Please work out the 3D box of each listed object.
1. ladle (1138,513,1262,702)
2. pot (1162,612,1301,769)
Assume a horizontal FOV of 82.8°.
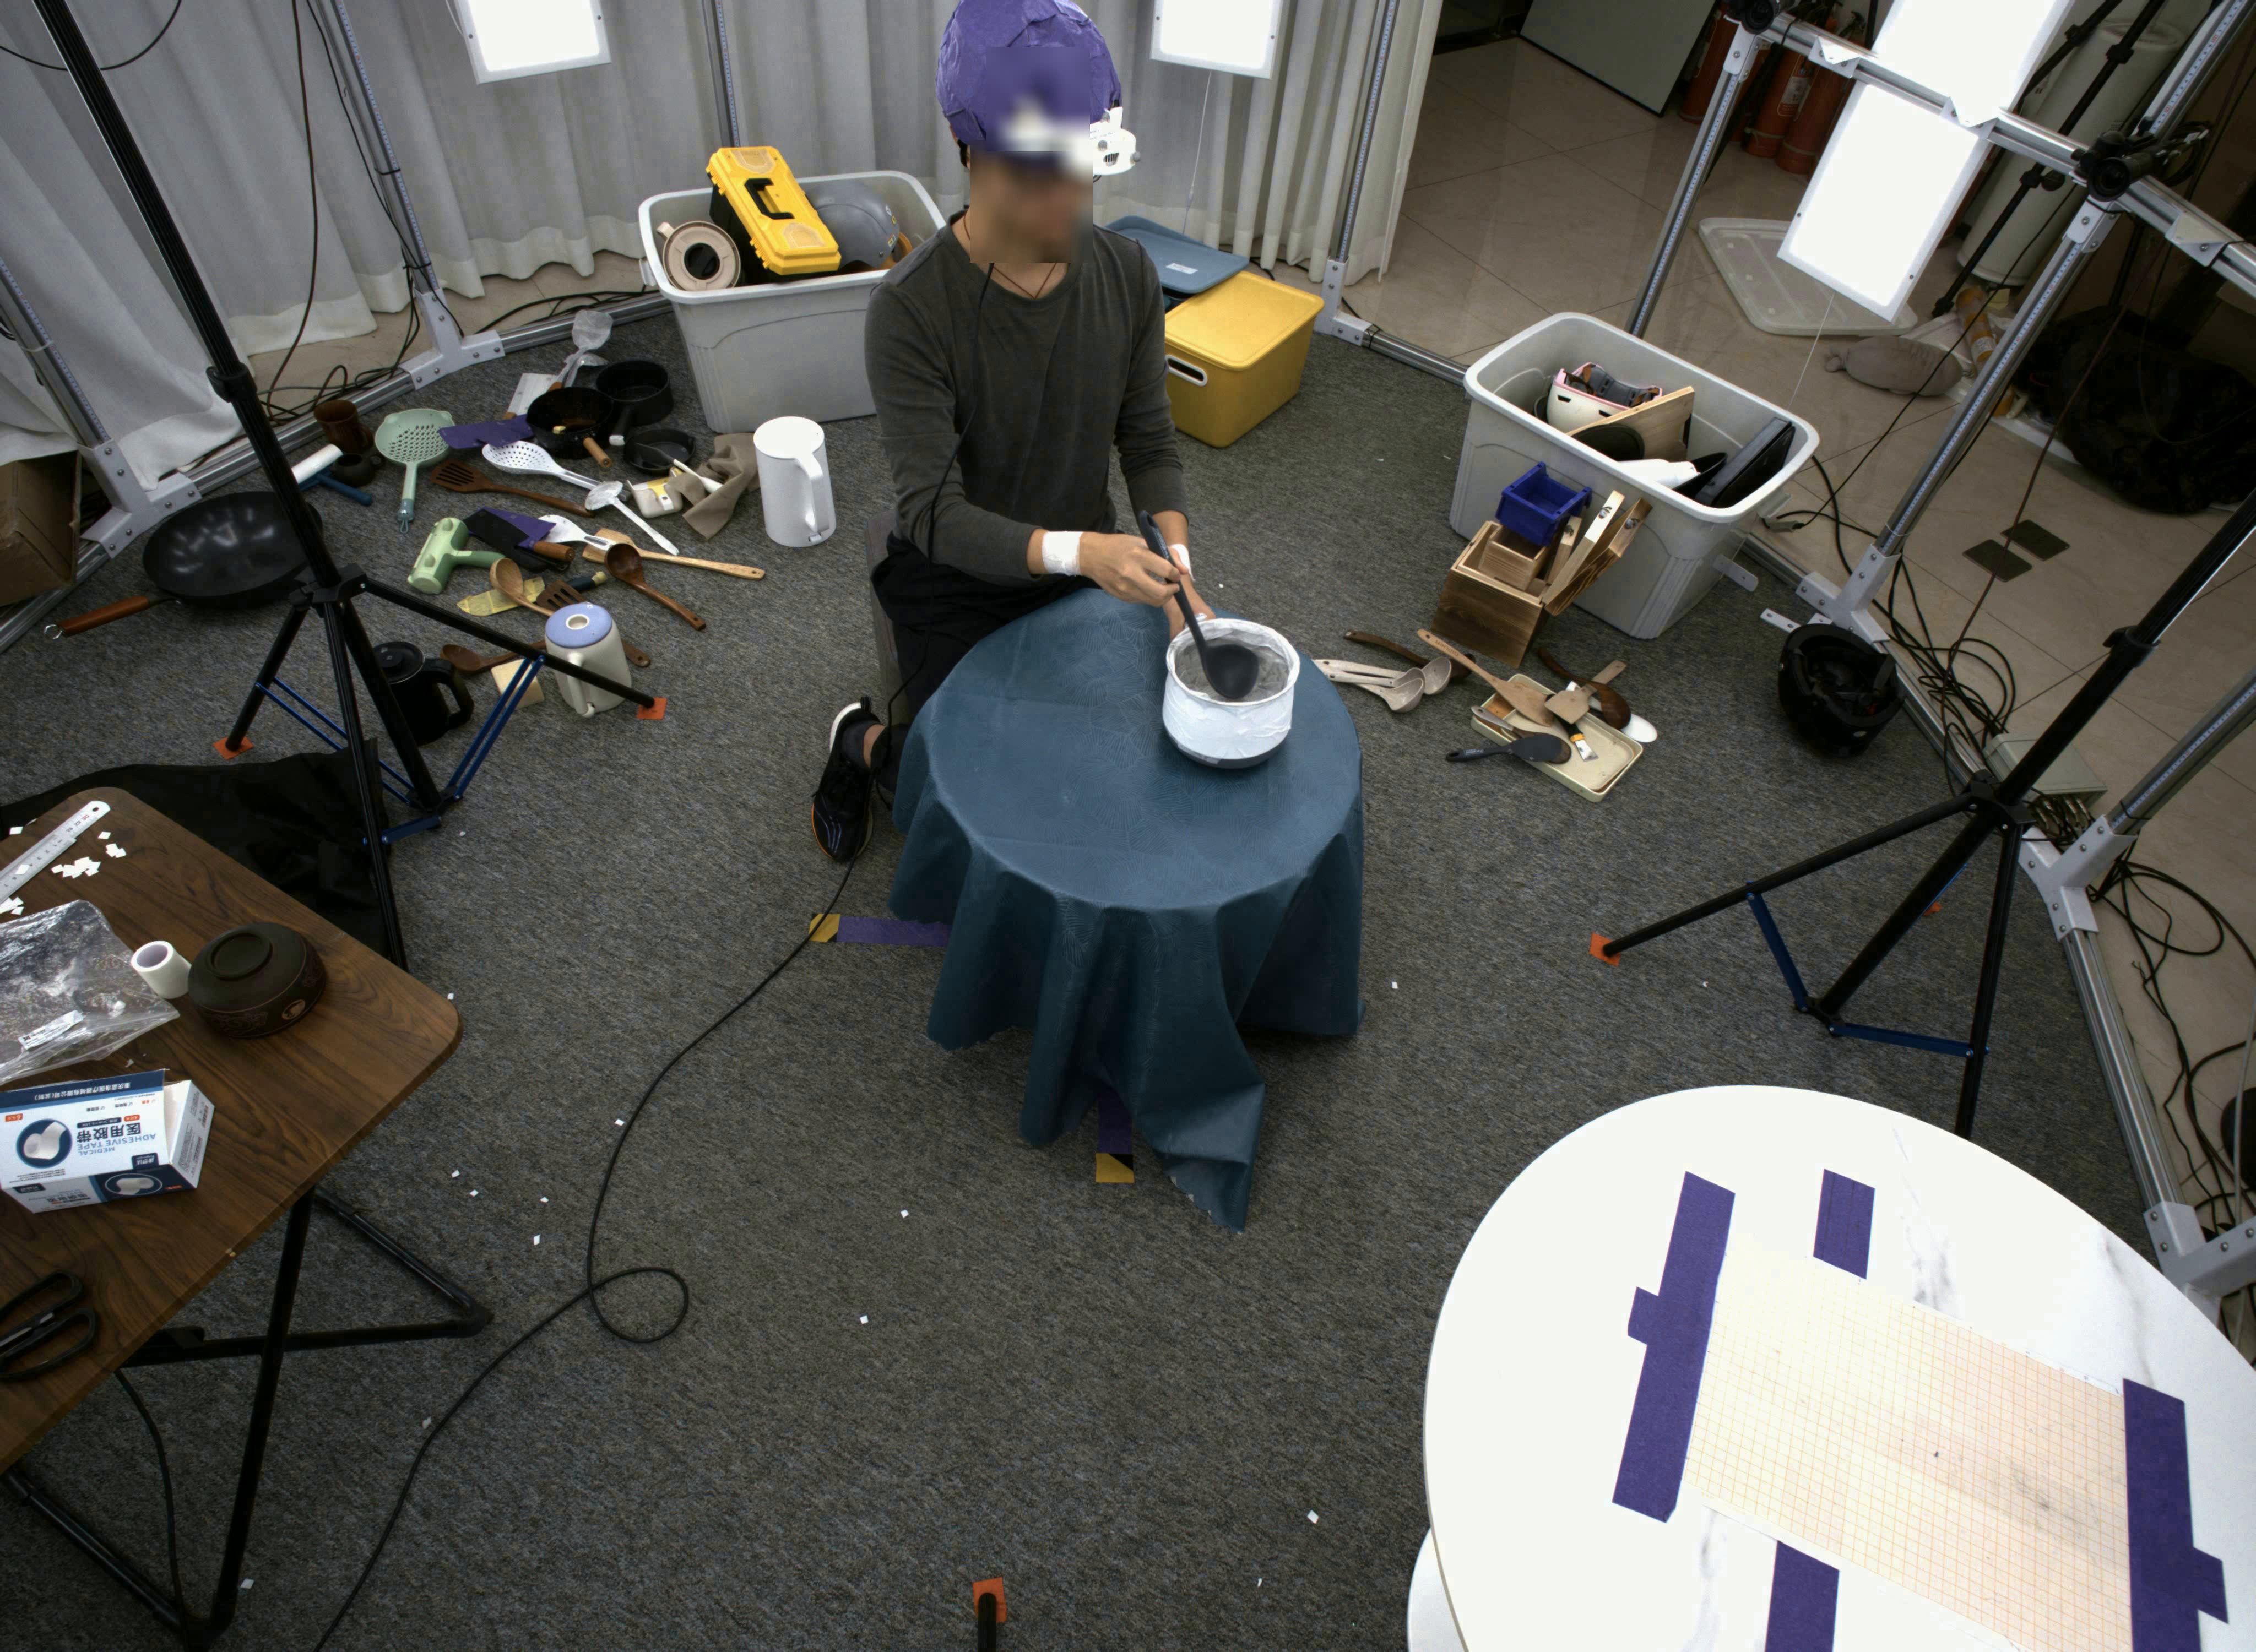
[{"bbox_3d":[0.094,-0.280,1.640,0.064,0.306,0.088,0,53,28],"label":"ladle"},{"bbox_3d":[0.125,-0.195,1.753,0.179,0.133,0.239,-16,49,-18],"label":"pot"}]
